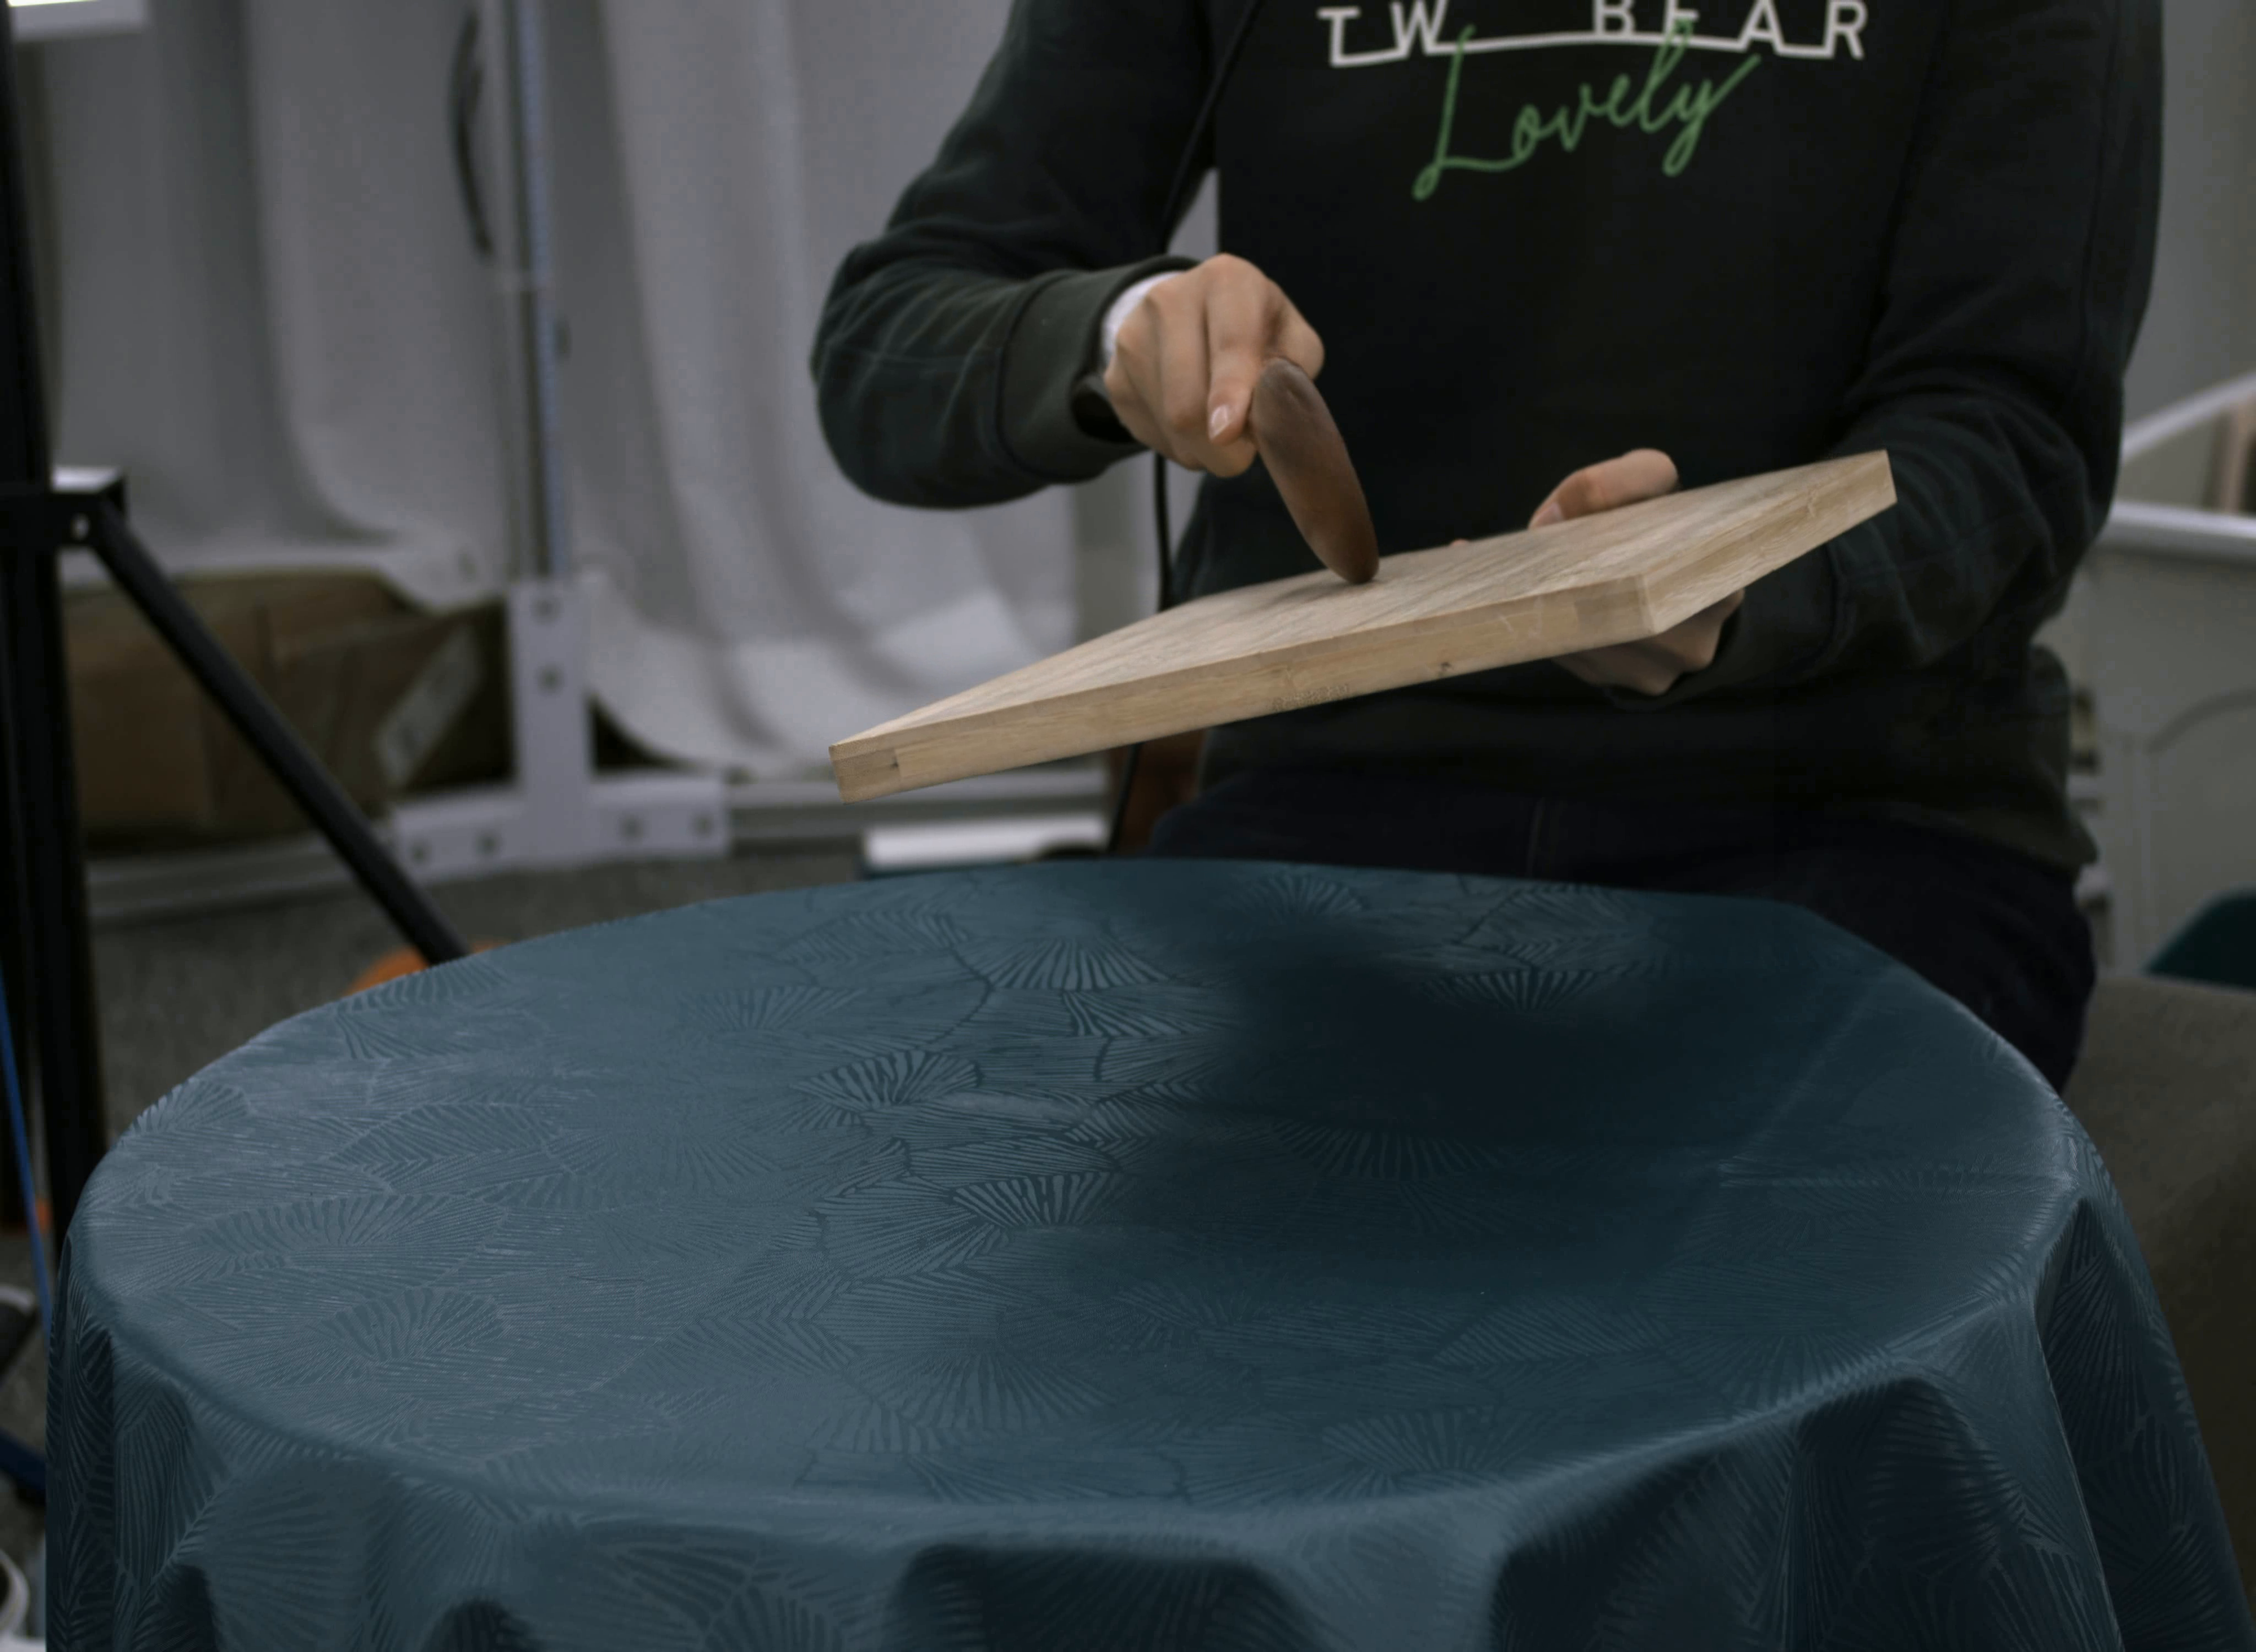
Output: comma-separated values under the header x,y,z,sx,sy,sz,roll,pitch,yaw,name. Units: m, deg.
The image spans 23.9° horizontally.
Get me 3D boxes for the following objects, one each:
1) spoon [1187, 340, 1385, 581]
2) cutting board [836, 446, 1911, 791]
x,y,z,sx,sy,sz,roll,pitch,yaw,name
0.046,-0.125,1.714,0.017,0.075,0.218,-25,18,-3,spoon
0.085,-0.064,1.594,0.253,0.023,0.344,-11,5,20,cutting board
